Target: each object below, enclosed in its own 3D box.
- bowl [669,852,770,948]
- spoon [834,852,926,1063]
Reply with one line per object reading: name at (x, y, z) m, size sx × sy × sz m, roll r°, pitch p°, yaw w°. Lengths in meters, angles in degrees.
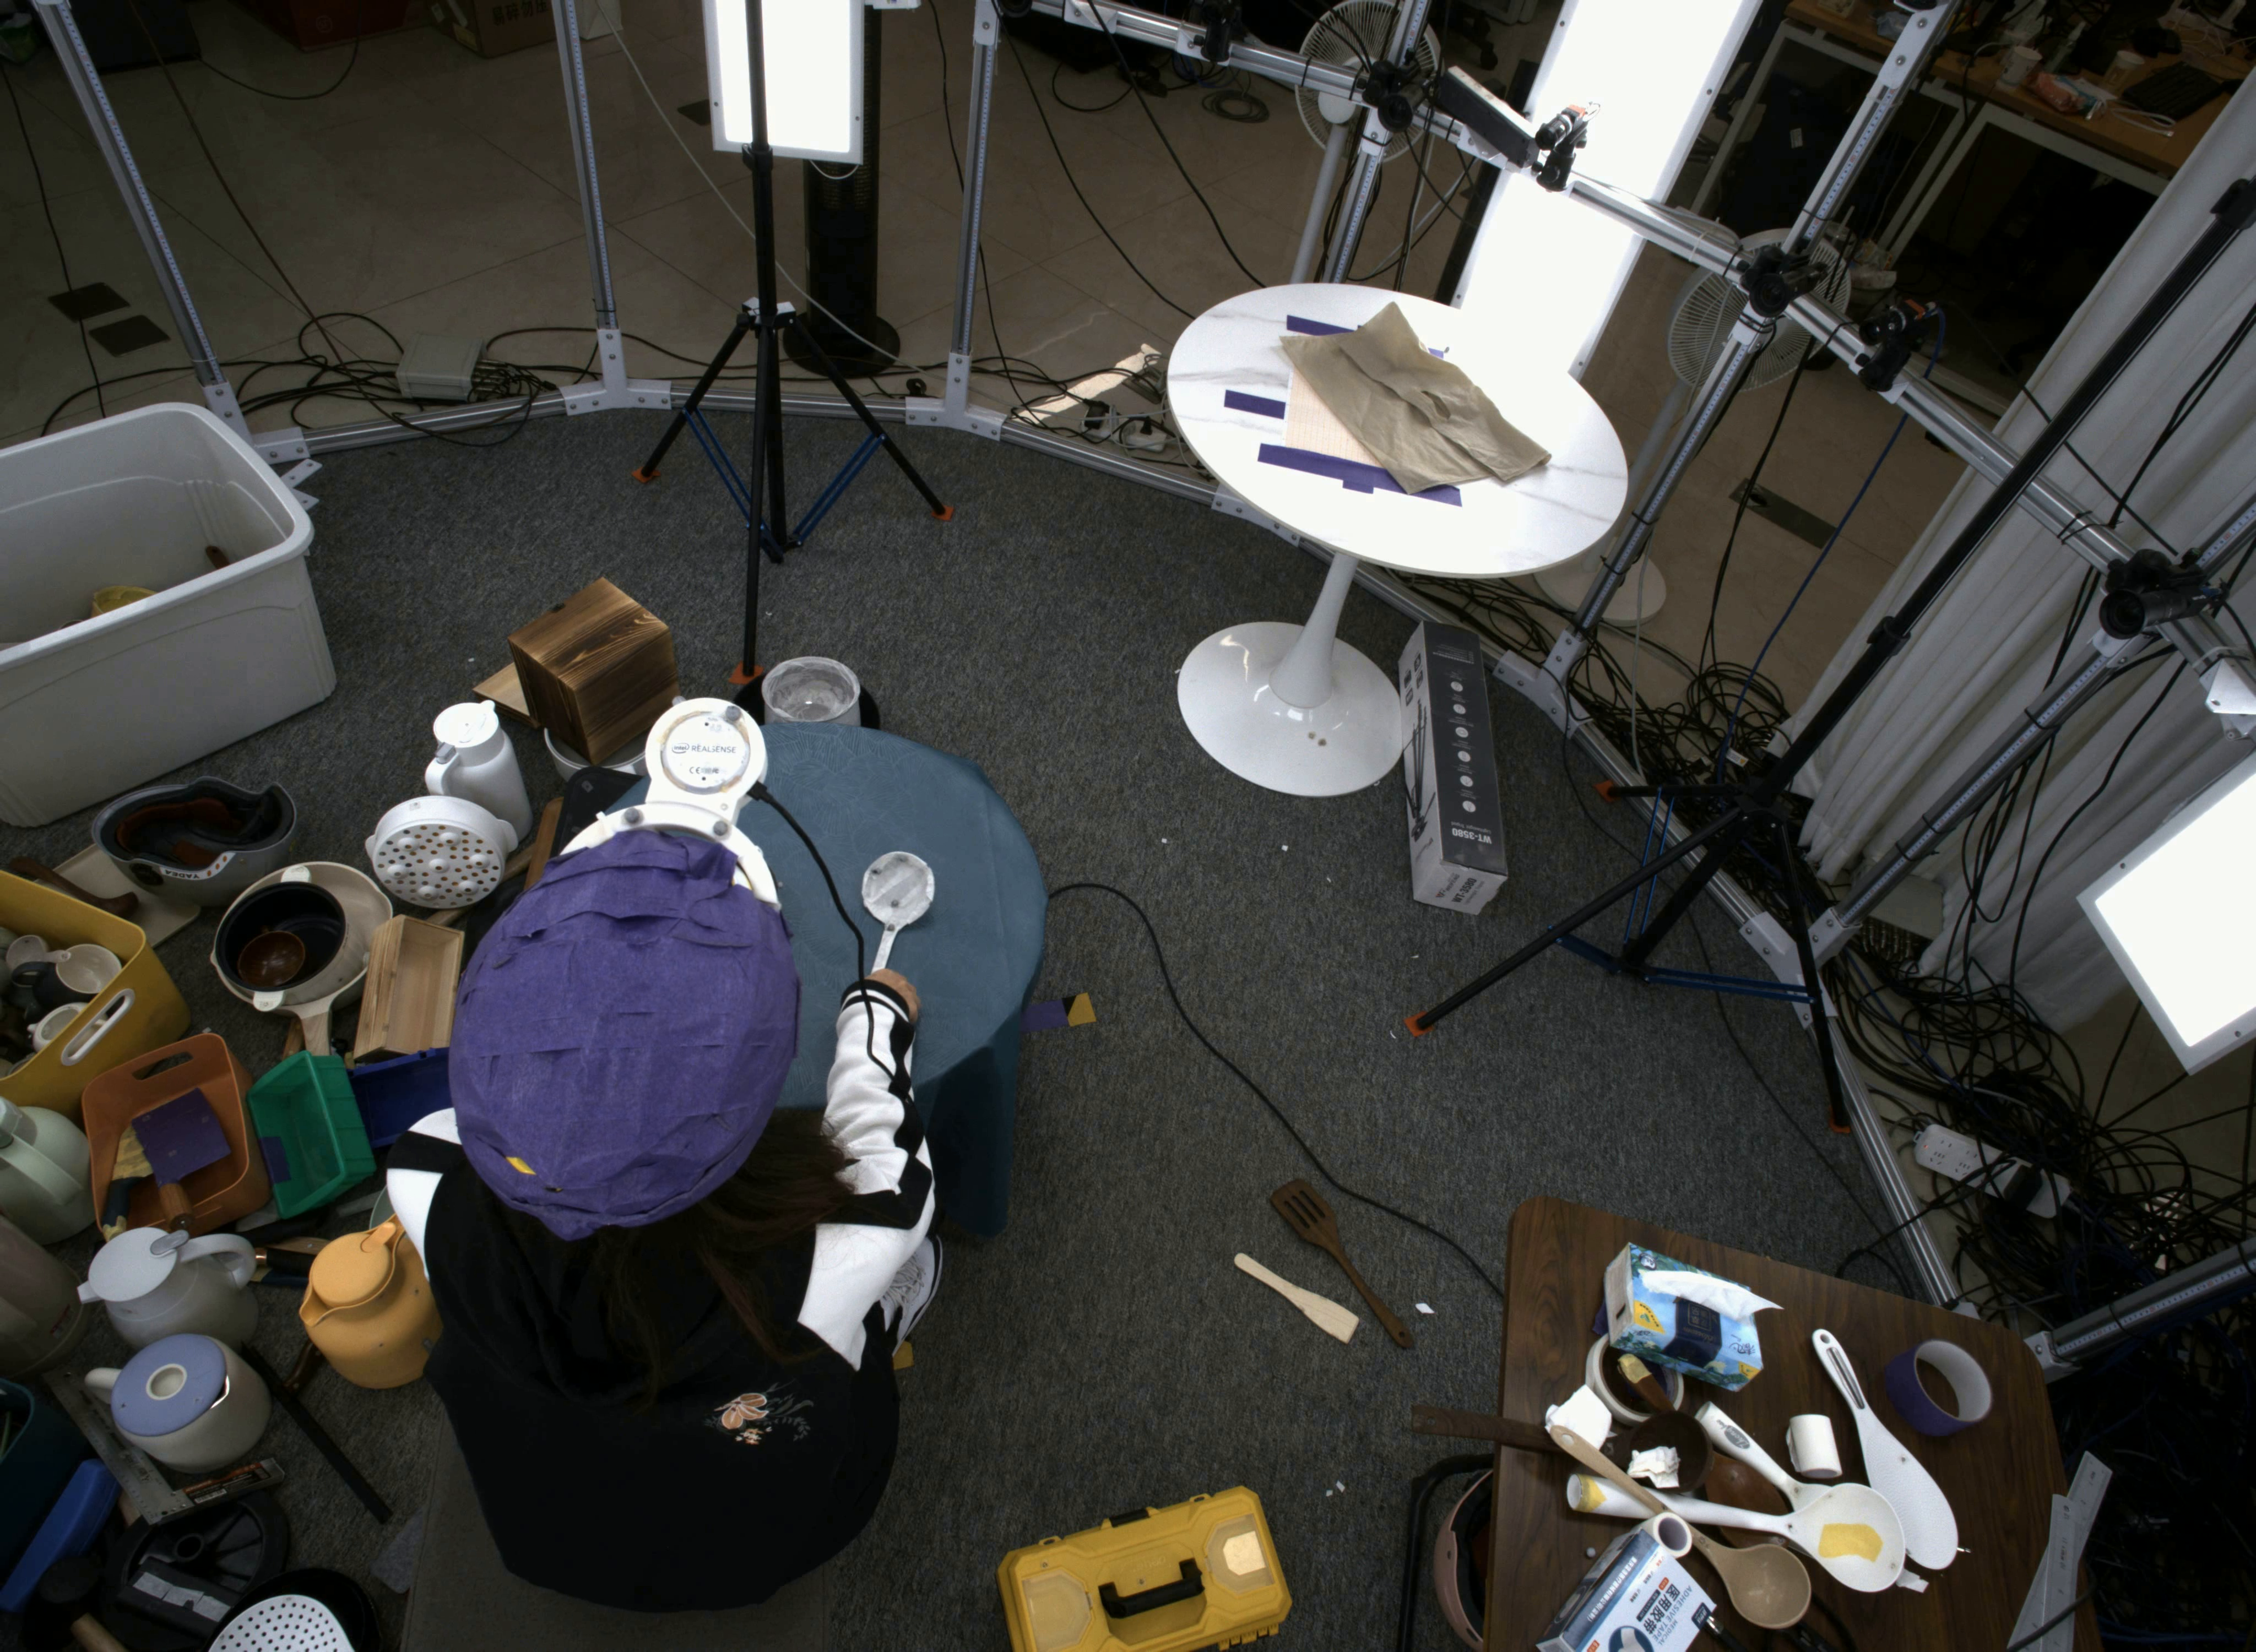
bowl at (-0.498, 0.096, 1.580) m, size 0.118 × 0.071 × 0.116 m, roll 7°, pitch 52°, yaw -8°
spoon at (-0.322, 0.154, 1.593) m, size 0.099 × 0.061 × 0.273 m, roll 9°, pitch 51°, yaw 5°
